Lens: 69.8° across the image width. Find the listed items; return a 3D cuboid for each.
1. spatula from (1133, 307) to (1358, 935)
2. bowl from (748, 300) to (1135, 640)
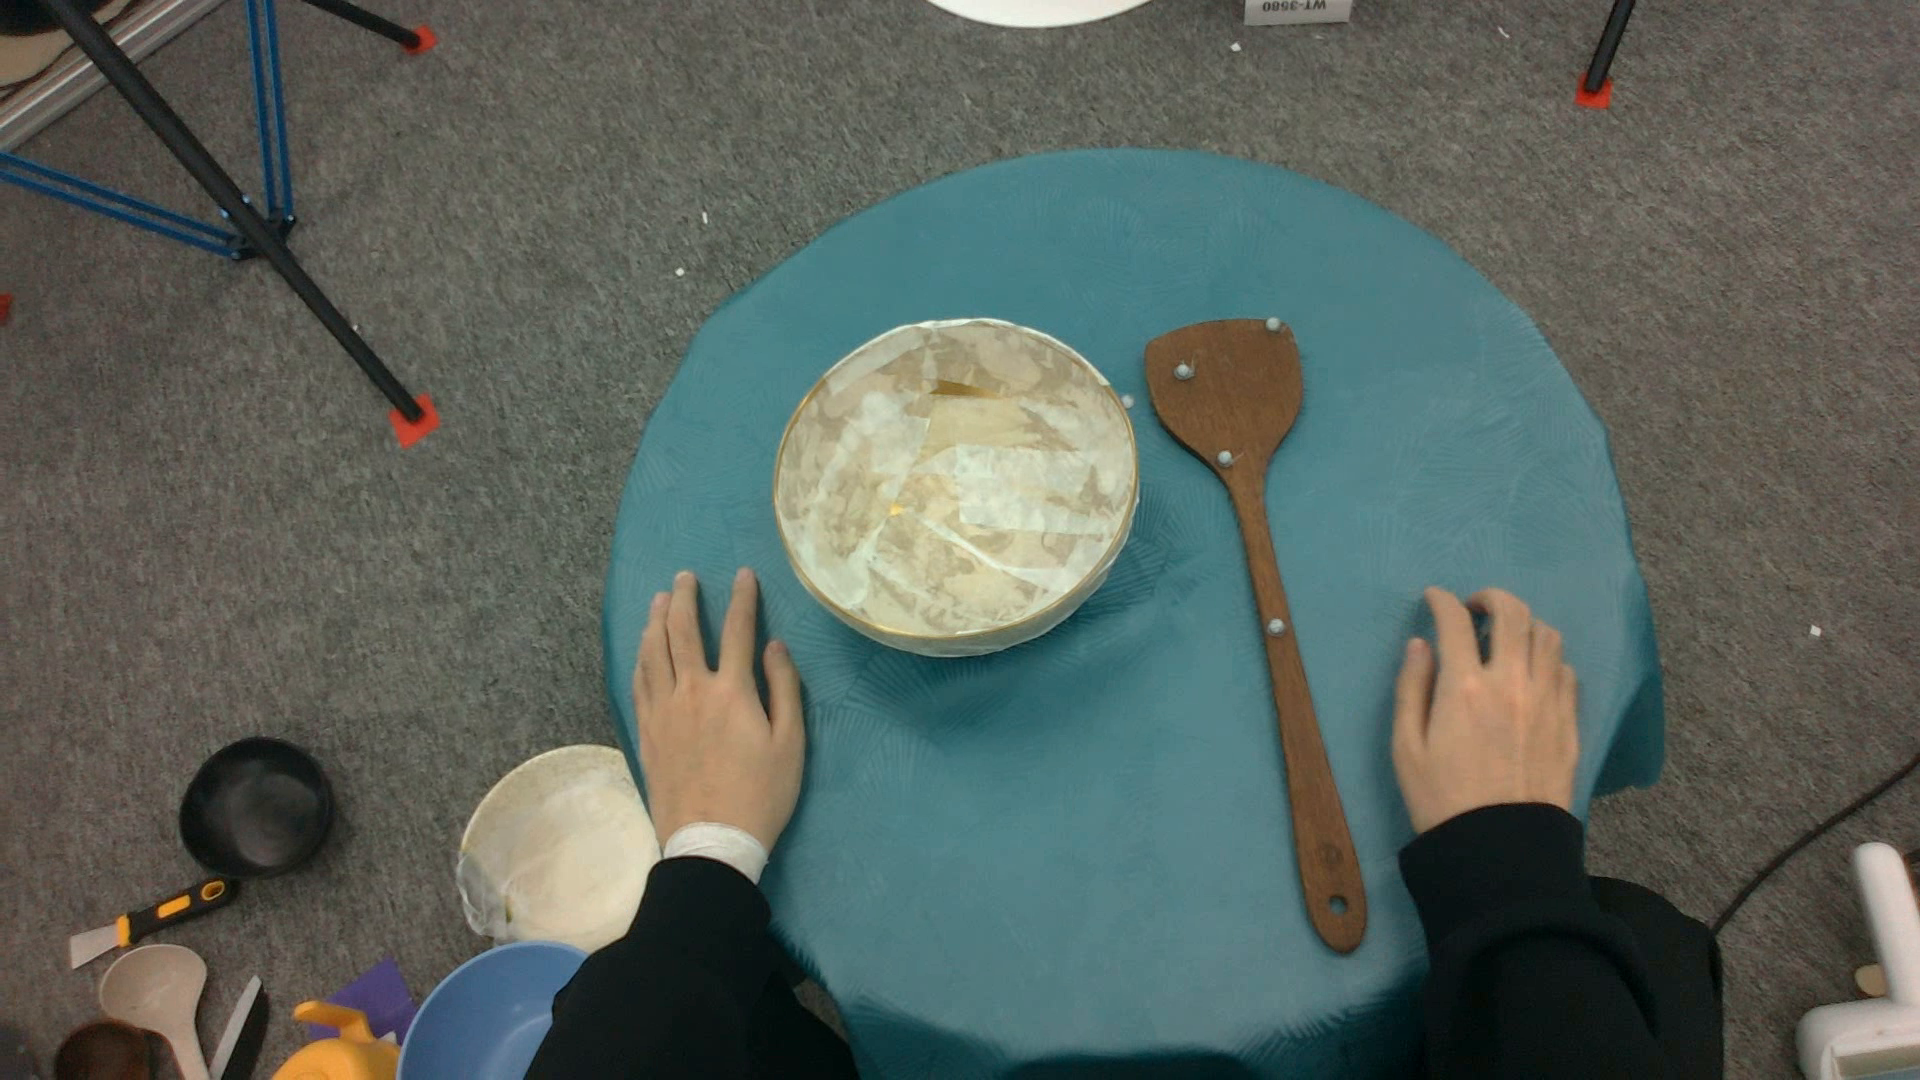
[{"bbox_3d":[0.170,0.026,0.775,0.096,0.016,0.387,-7,61,3],"label":"spatula"},{"bbox_3d":[-0.008,-0.025,0.777,0.214,0.094,0.215,-2,63,4],"label":"bowl"}]
